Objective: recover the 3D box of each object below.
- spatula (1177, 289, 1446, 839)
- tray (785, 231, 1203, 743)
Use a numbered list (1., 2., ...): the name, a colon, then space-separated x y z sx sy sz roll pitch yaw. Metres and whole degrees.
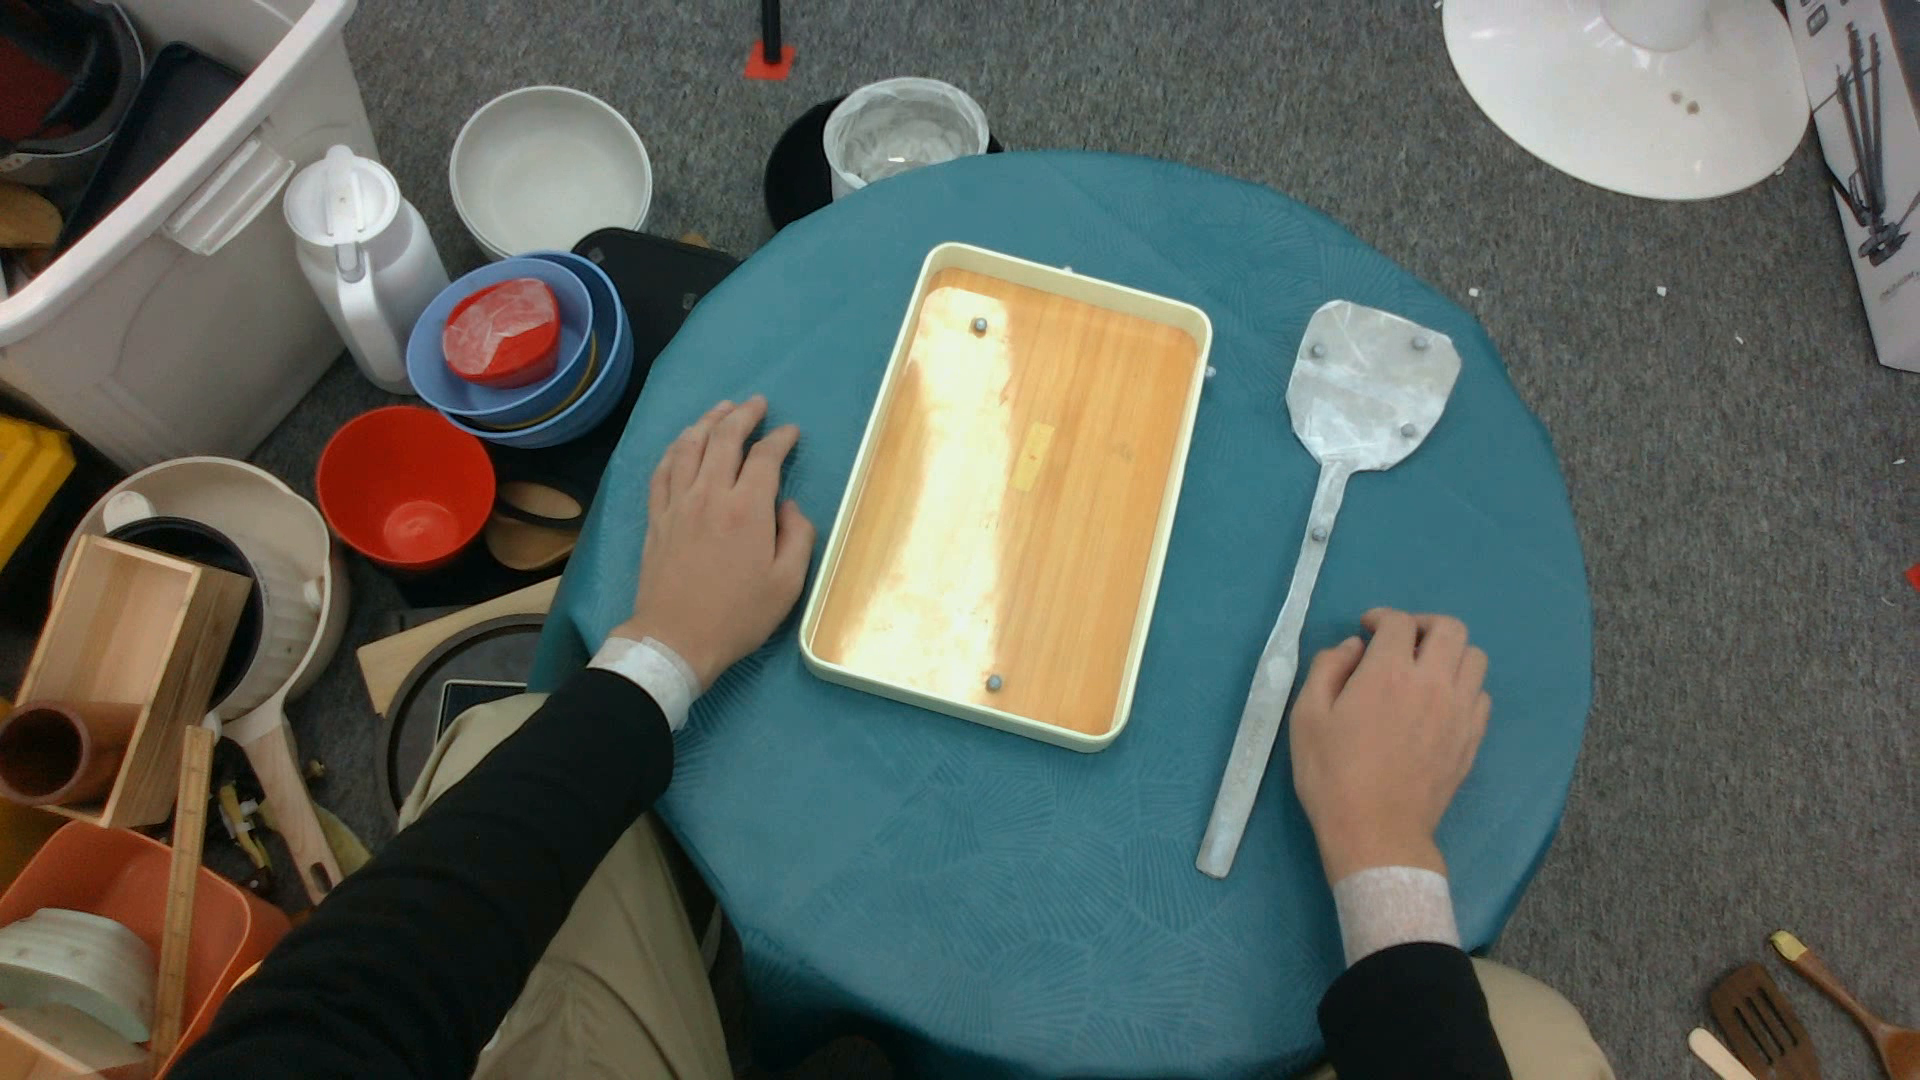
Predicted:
1. spatula: 0.199 0.009 0.814 0.098 0.044 0.366 22 65 4
2. tray: 0.028 -0.042 0.826 0.191 0.027 0.301 16 65 2
